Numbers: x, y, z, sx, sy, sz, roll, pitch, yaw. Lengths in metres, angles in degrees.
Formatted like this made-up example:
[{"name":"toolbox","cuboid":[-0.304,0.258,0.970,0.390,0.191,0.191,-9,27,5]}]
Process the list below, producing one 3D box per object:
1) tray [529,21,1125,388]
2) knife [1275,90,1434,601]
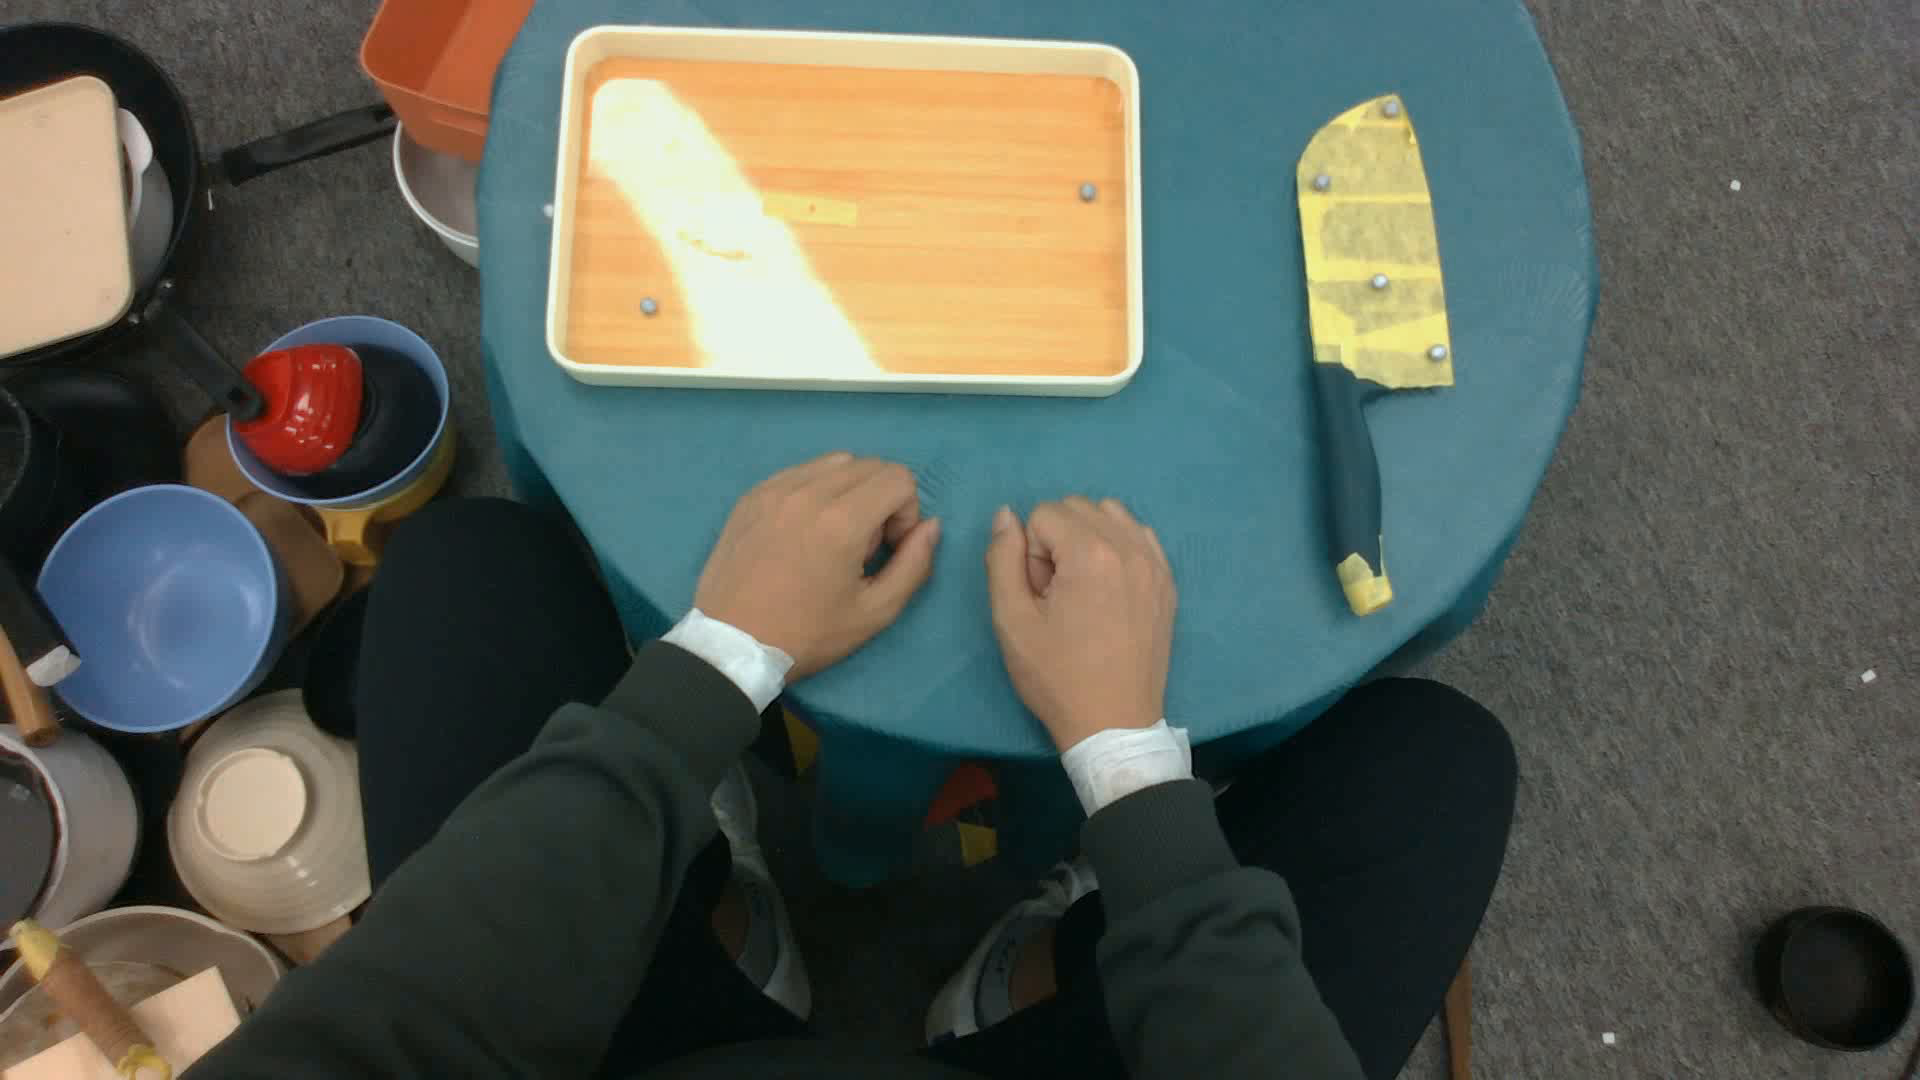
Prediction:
[{"name":"tray","cuboid":[-0.065,-0.175,0.720,0.300,0.027,0.192,1,78,-3]},{"name":"knife","cuboid":[0.210,-0.110,0.728,0.081,0.027,0.290,1,76,-2]}]
